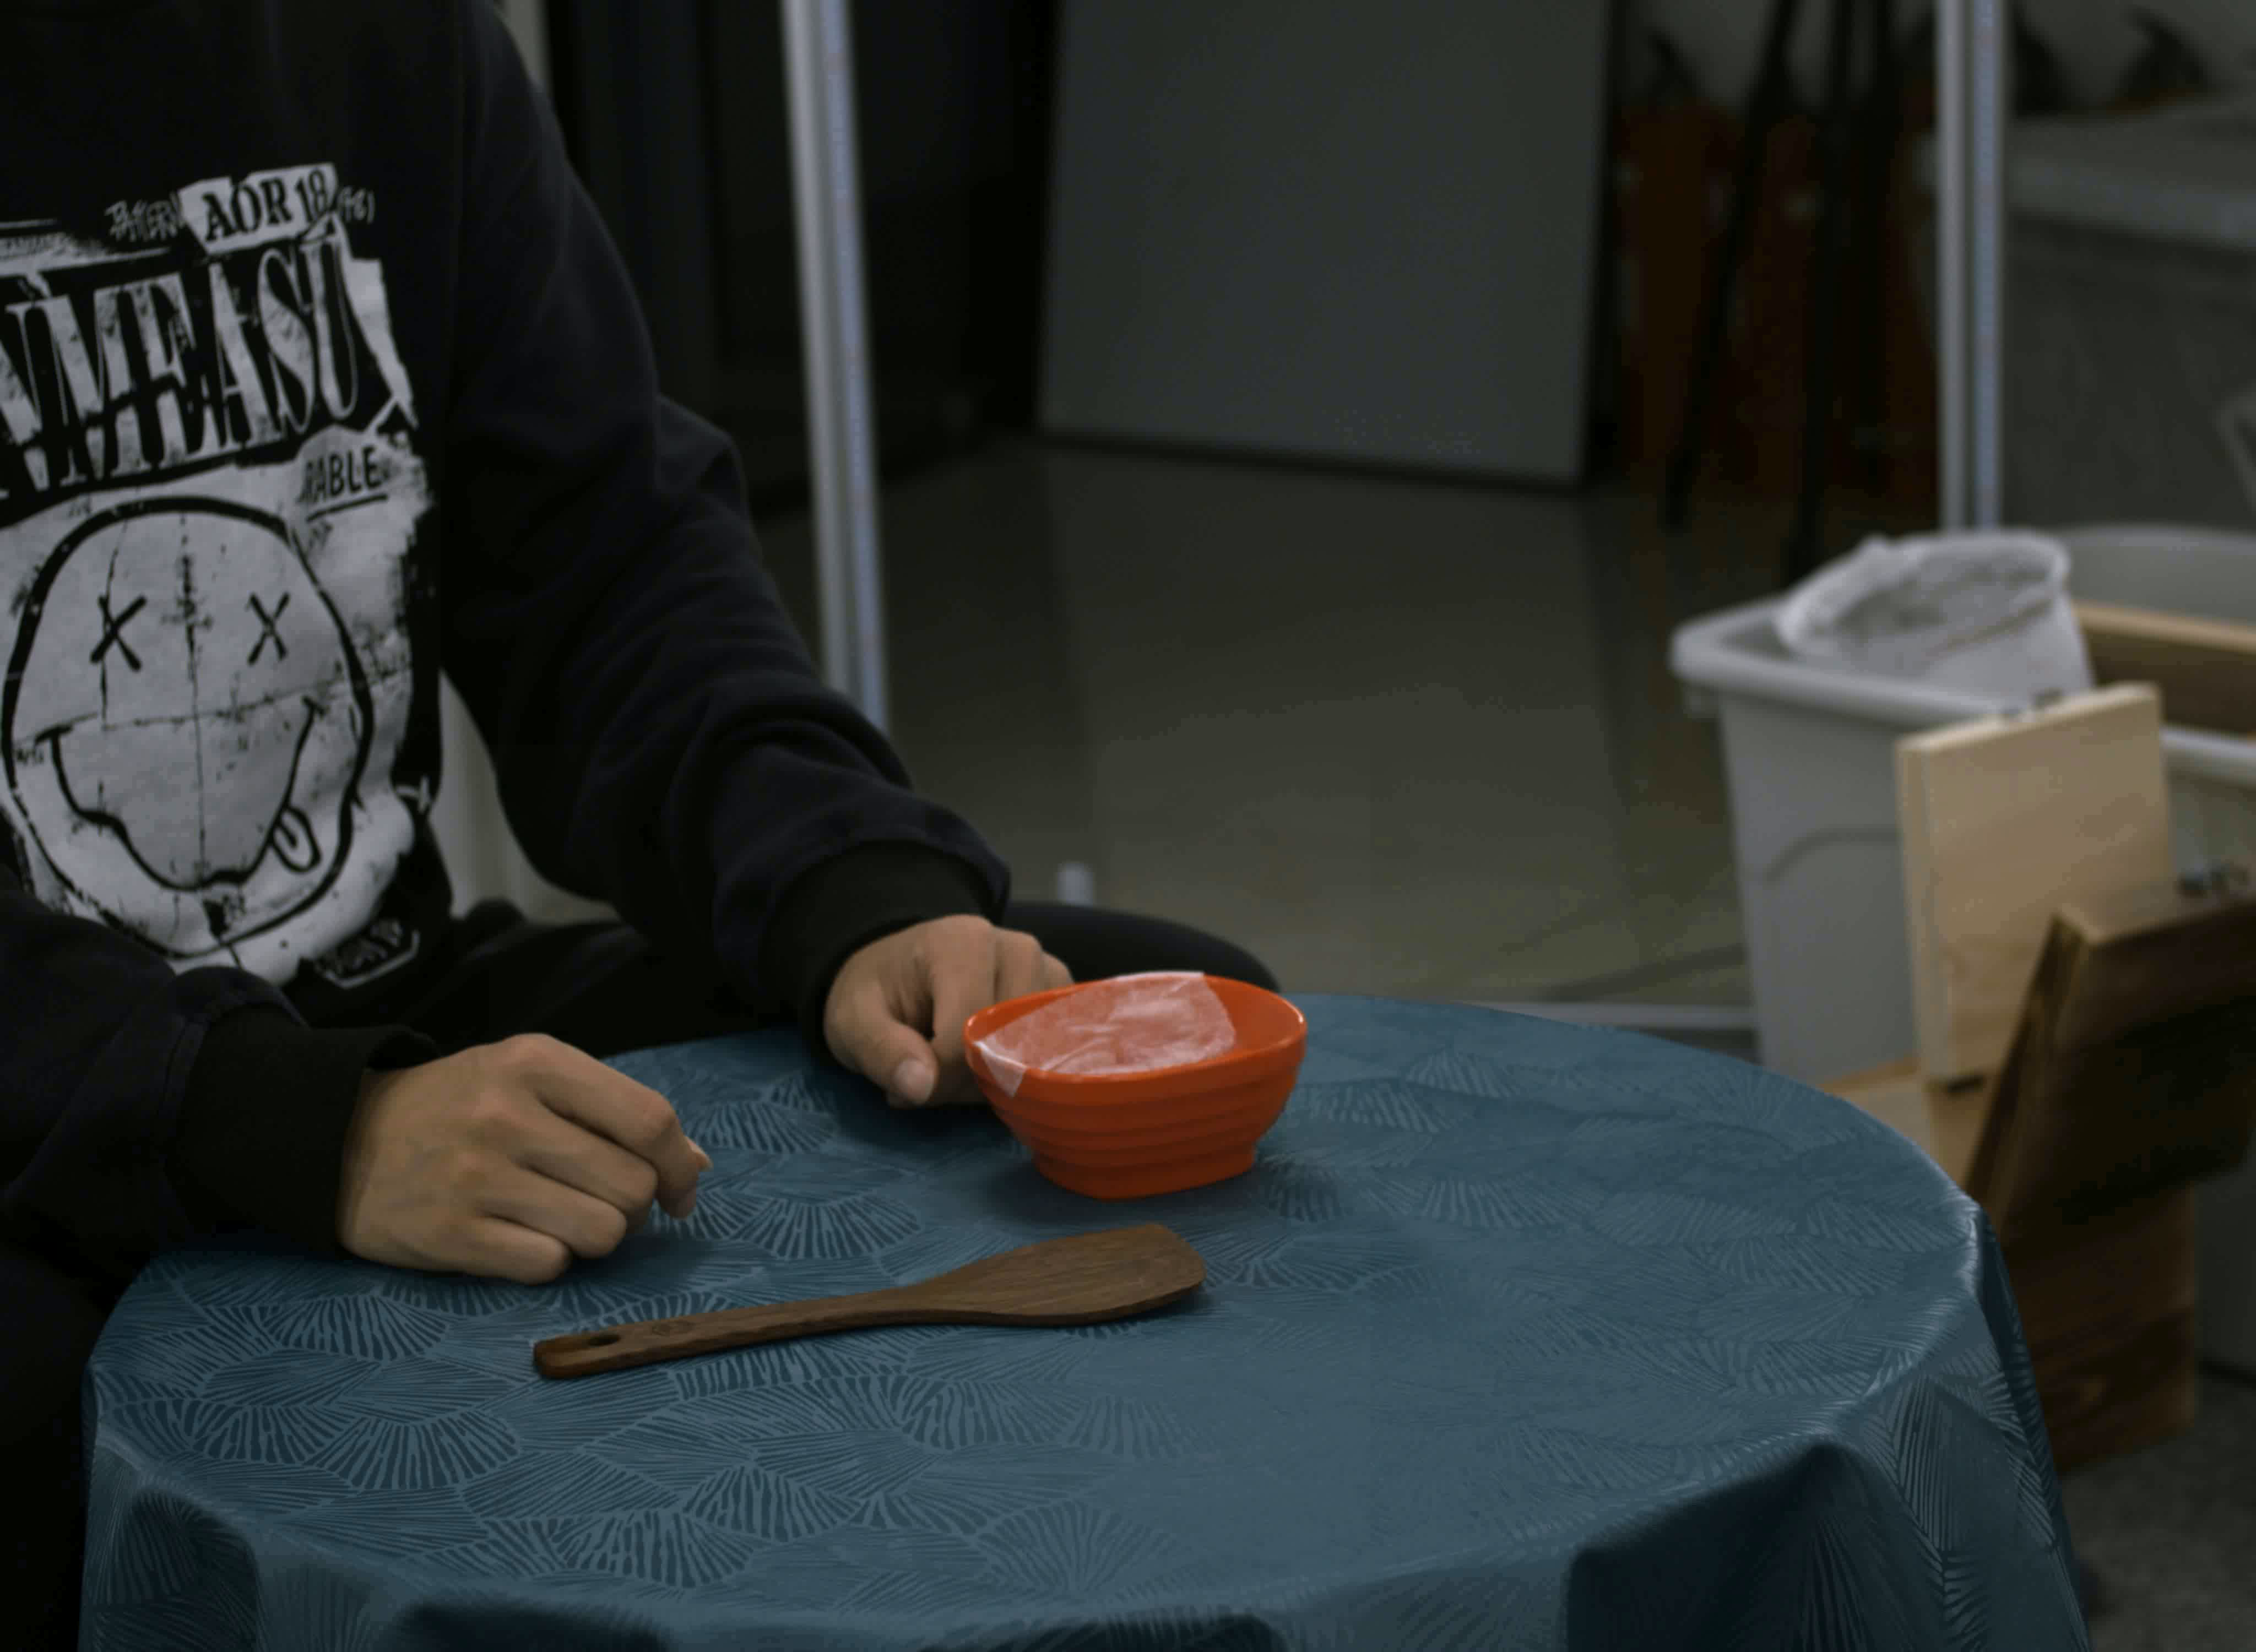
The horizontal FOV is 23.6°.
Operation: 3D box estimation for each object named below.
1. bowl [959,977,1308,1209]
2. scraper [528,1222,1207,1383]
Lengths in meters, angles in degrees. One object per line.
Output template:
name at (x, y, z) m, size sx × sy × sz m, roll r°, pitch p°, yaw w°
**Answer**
bowl at (0.003, 0.091, 1.792) m, size 0.117 × 0.052 × 0.119 m, roll -4°, pitch 15°, yaw 0°
scraper at (-0.080, 0.150, 1.661) m, size 0.207 × 0.011 × 0.076 m, roll -8°, pitch 14°, yaw -12°
